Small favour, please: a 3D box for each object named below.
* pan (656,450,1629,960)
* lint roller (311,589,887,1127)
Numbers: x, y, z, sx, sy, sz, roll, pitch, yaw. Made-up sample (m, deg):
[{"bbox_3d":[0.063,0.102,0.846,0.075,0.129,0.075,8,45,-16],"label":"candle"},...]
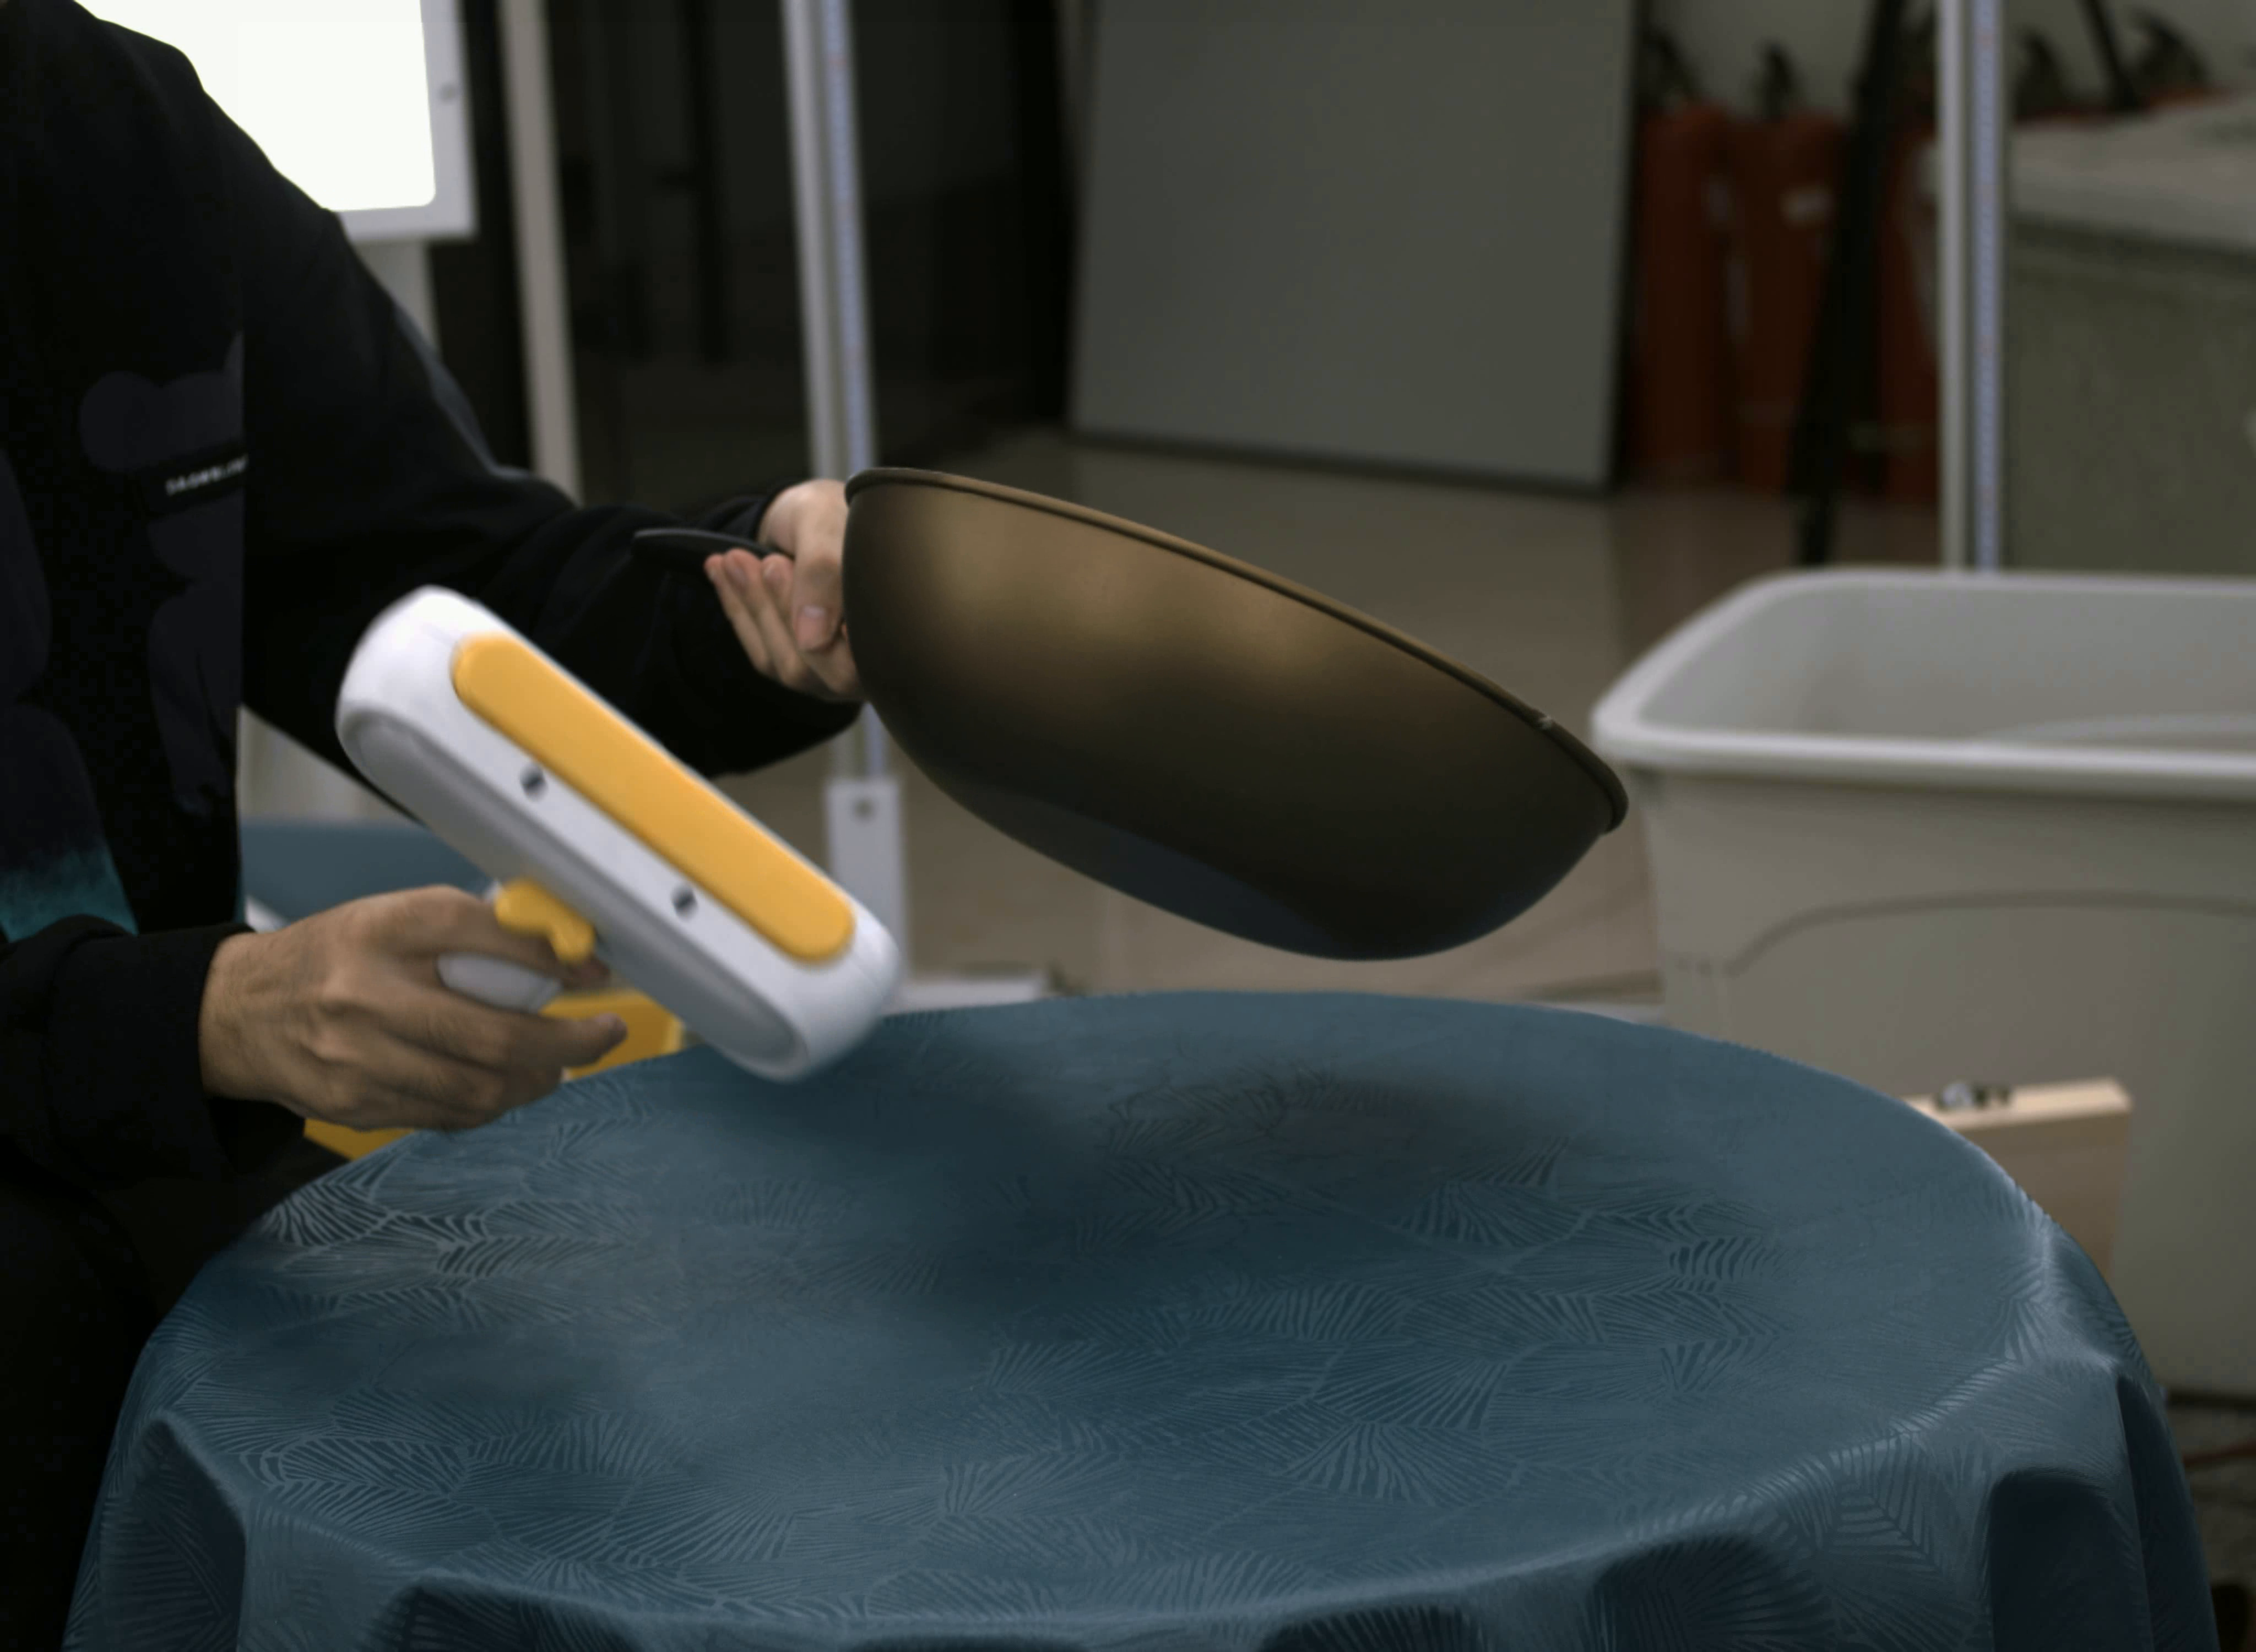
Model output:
[{"bbox_3d":[-0.038,-0.038,1.833,0.283,0.087,0.468,31,-13,-39],"label":"pan"},{"bbox_3d":[-0.183,0.032,1.667,0.074,0.191,0.194,-61,7,-33],"label":"lint roller"}]
